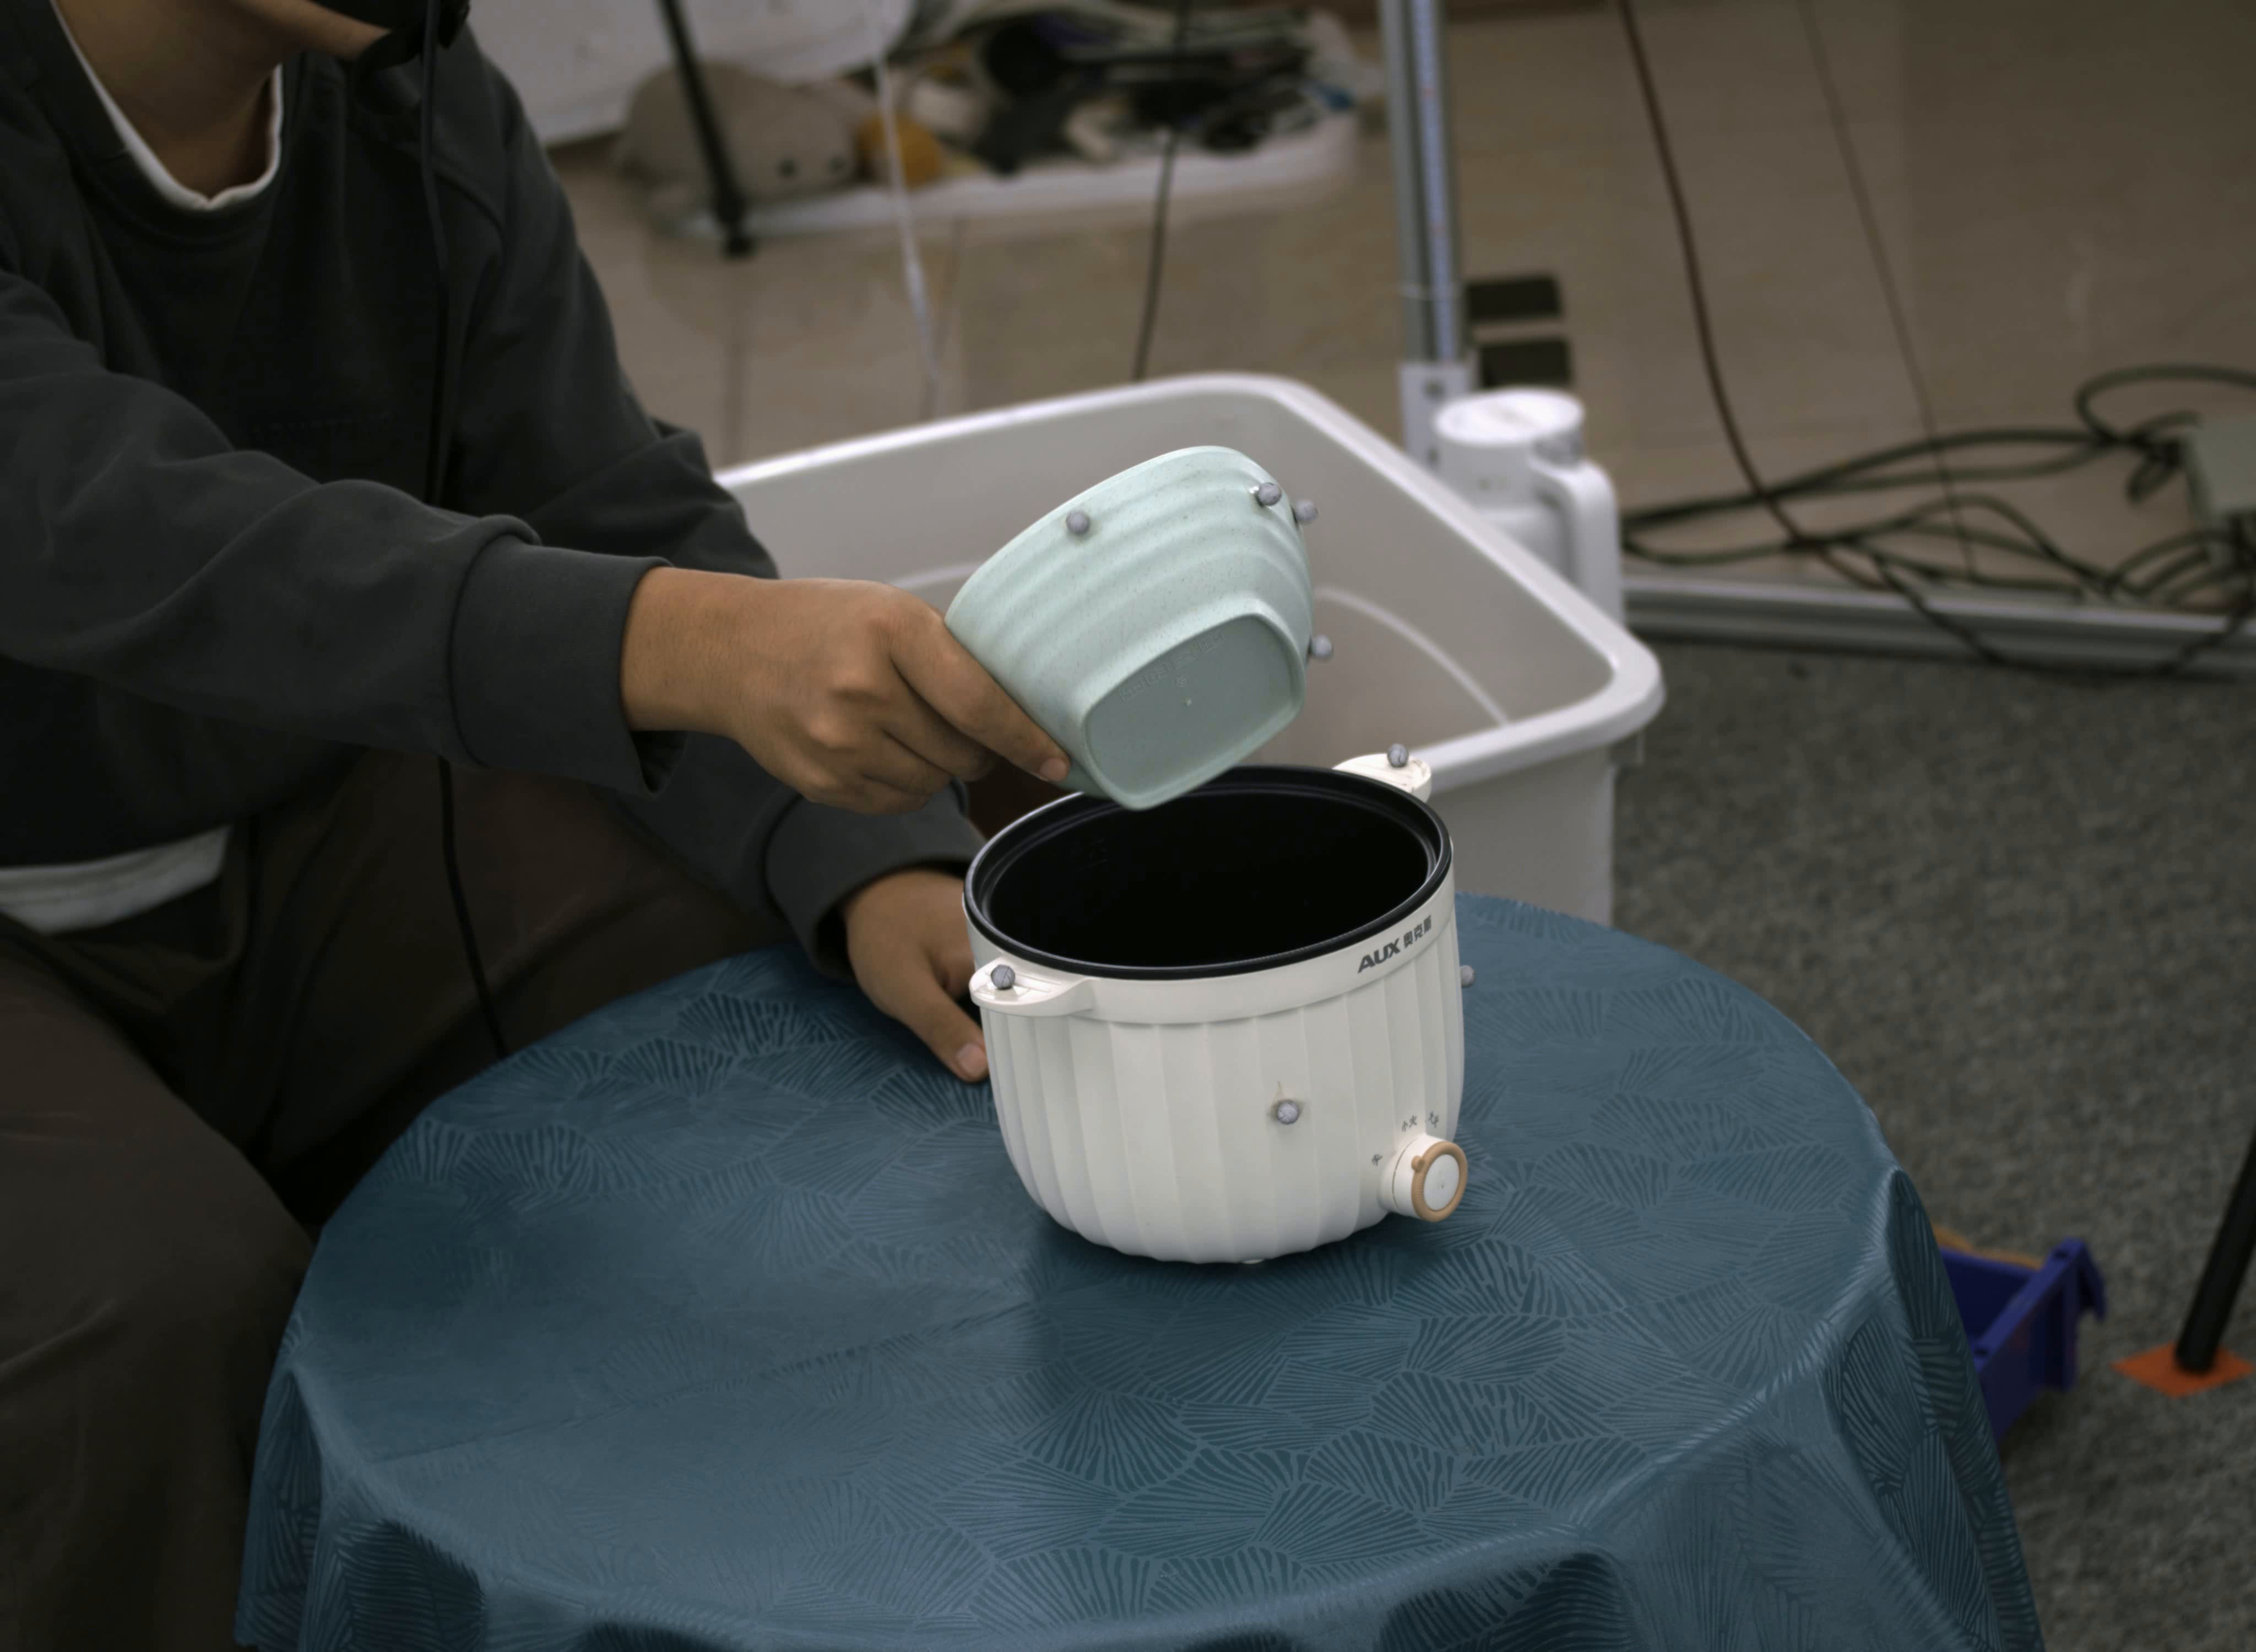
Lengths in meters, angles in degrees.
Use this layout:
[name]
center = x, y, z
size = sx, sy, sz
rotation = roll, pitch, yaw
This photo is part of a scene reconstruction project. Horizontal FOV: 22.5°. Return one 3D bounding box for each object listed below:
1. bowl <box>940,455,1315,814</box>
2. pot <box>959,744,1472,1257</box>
[bowl]
center = 0.011, -0.058, 2.000
size = 0.151, 0.154, 0.058
rotation = -17, 56, -22
[pot]
center = 0.040, 0.072, 2.112
size = 0.189, 0.145, 0.238
rotation = 11, 32, 40
